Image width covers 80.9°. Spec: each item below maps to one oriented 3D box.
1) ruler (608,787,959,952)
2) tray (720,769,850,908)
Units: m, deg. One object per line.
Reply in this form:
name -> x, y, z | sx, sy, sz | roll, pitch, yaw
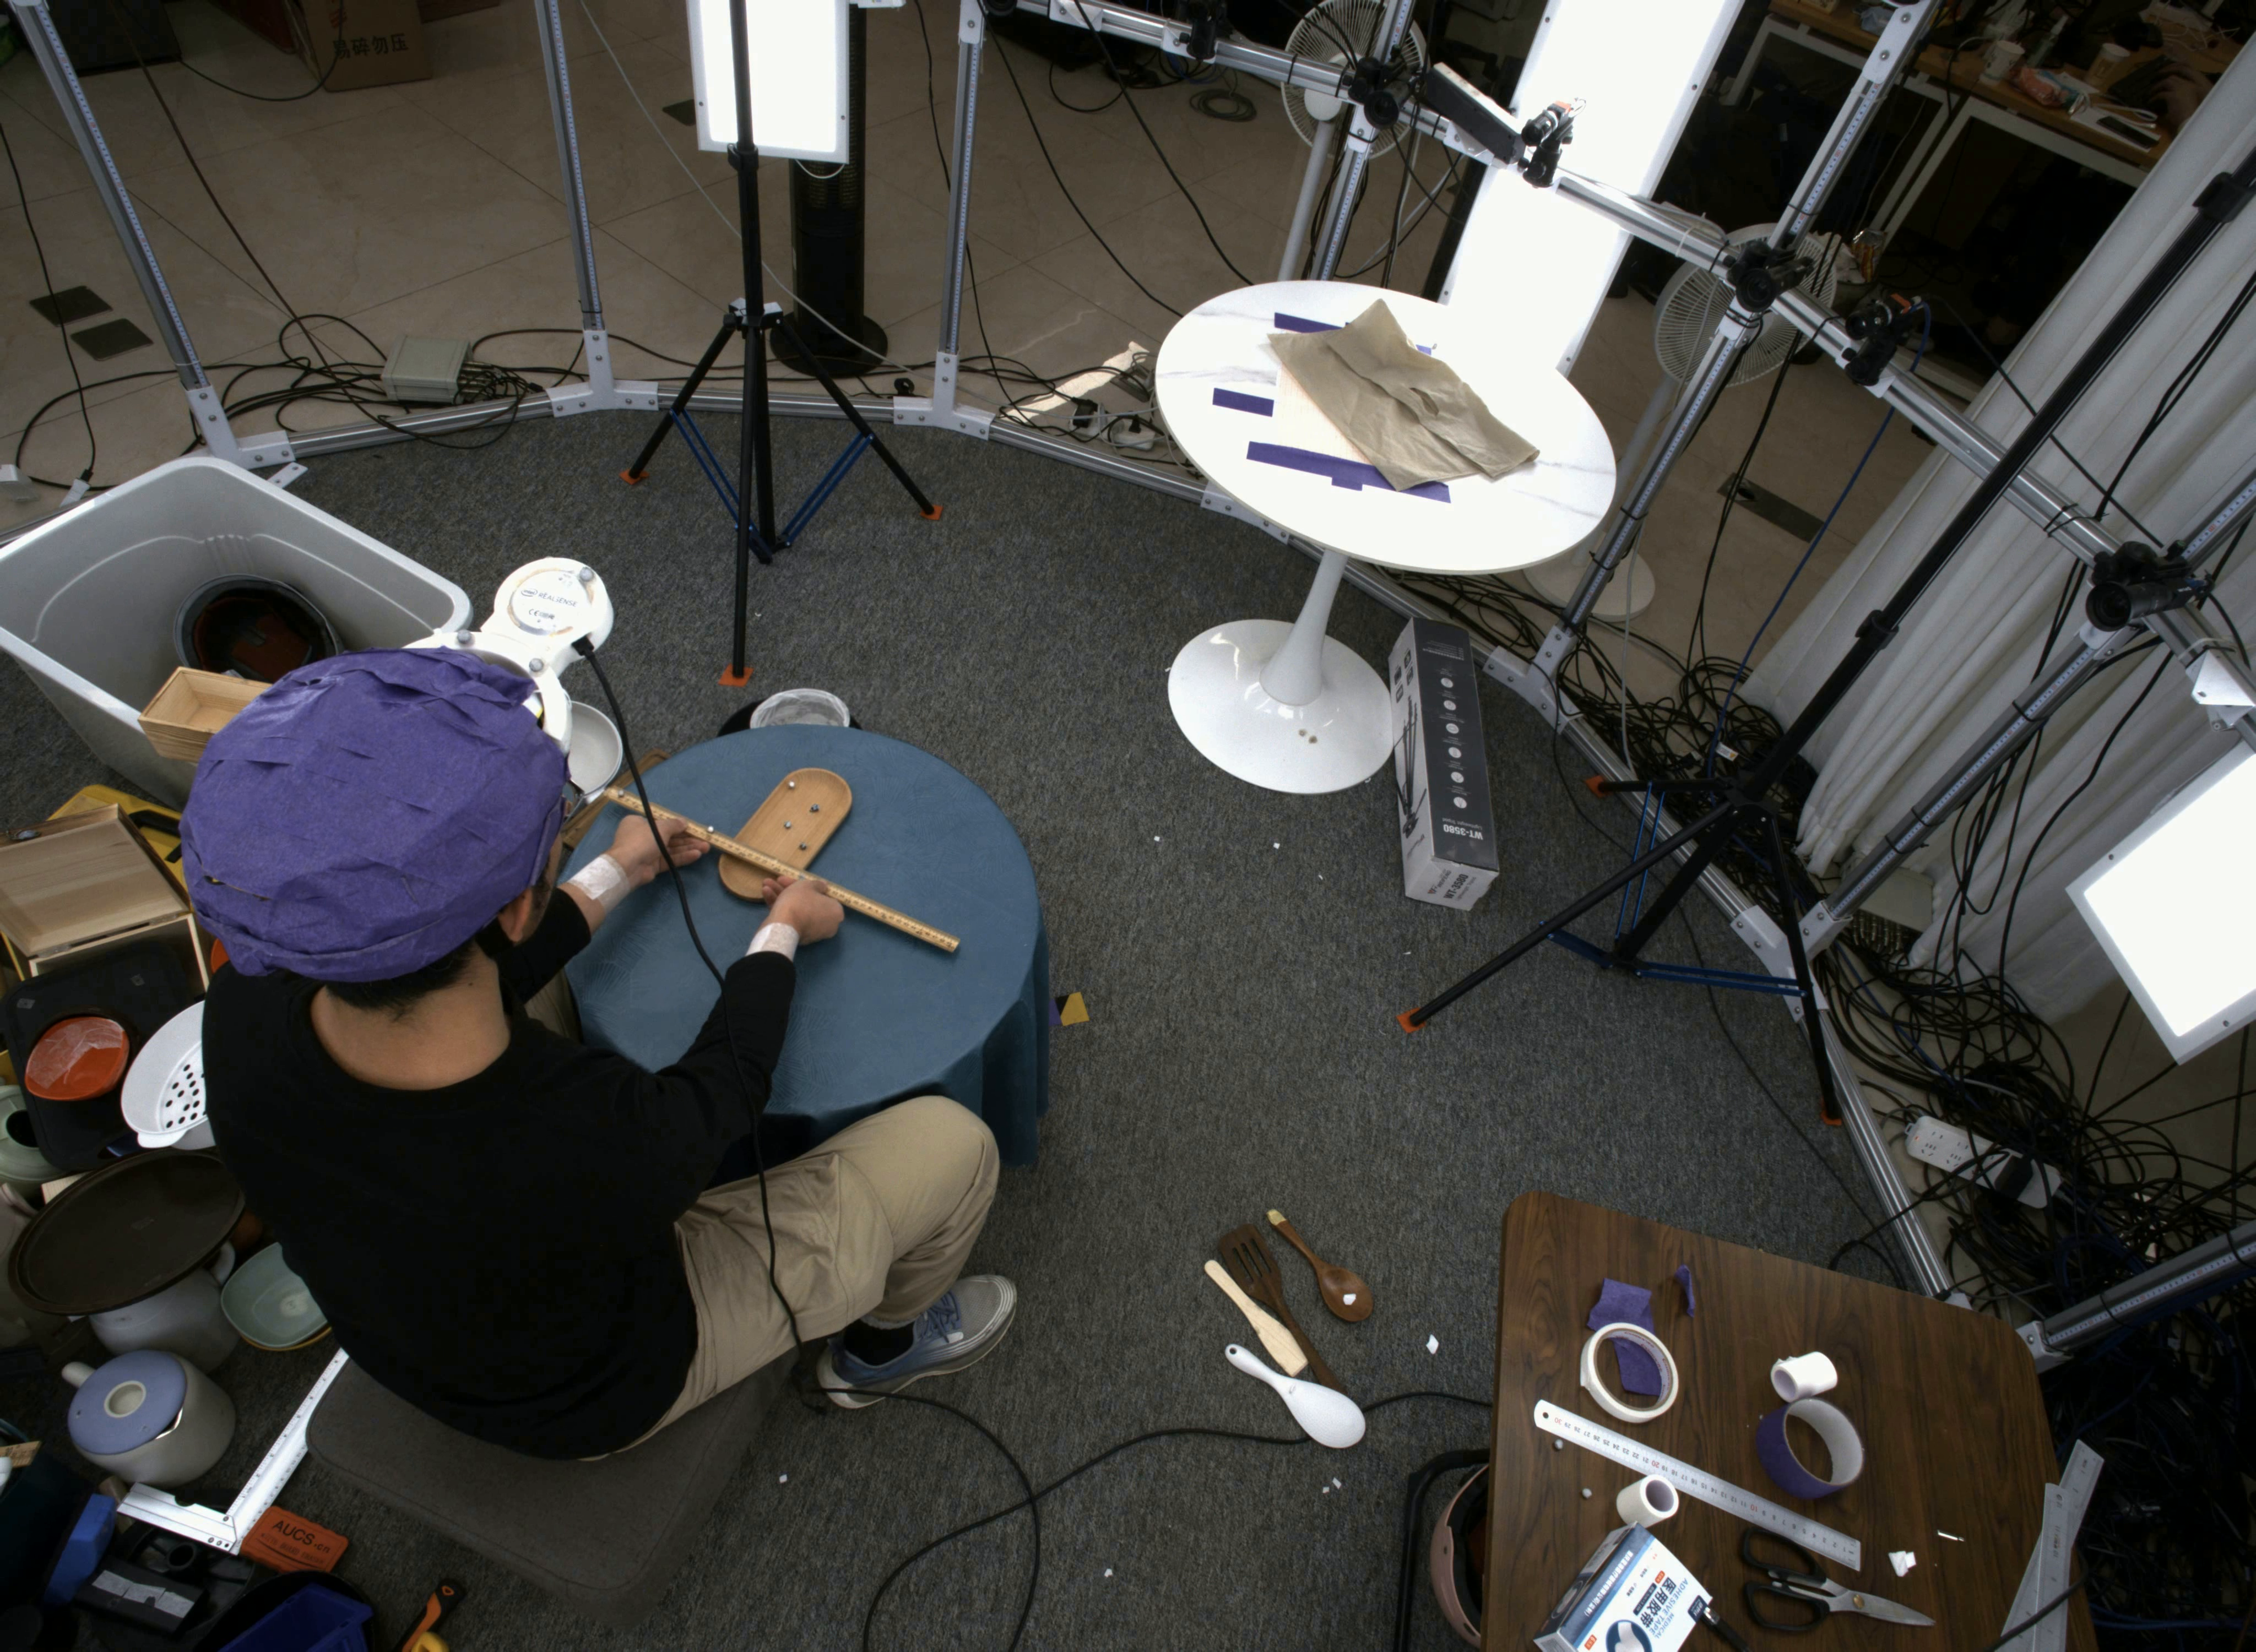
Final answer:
ruler -> -0.444, 0.052, 1.648 | 0.495, 0.006, 0.026 | 24, 35, 1
tray -> -0.445, 0.013, 1.693 | 0.100, 0.021, 0.229 | 23, 53, 3
